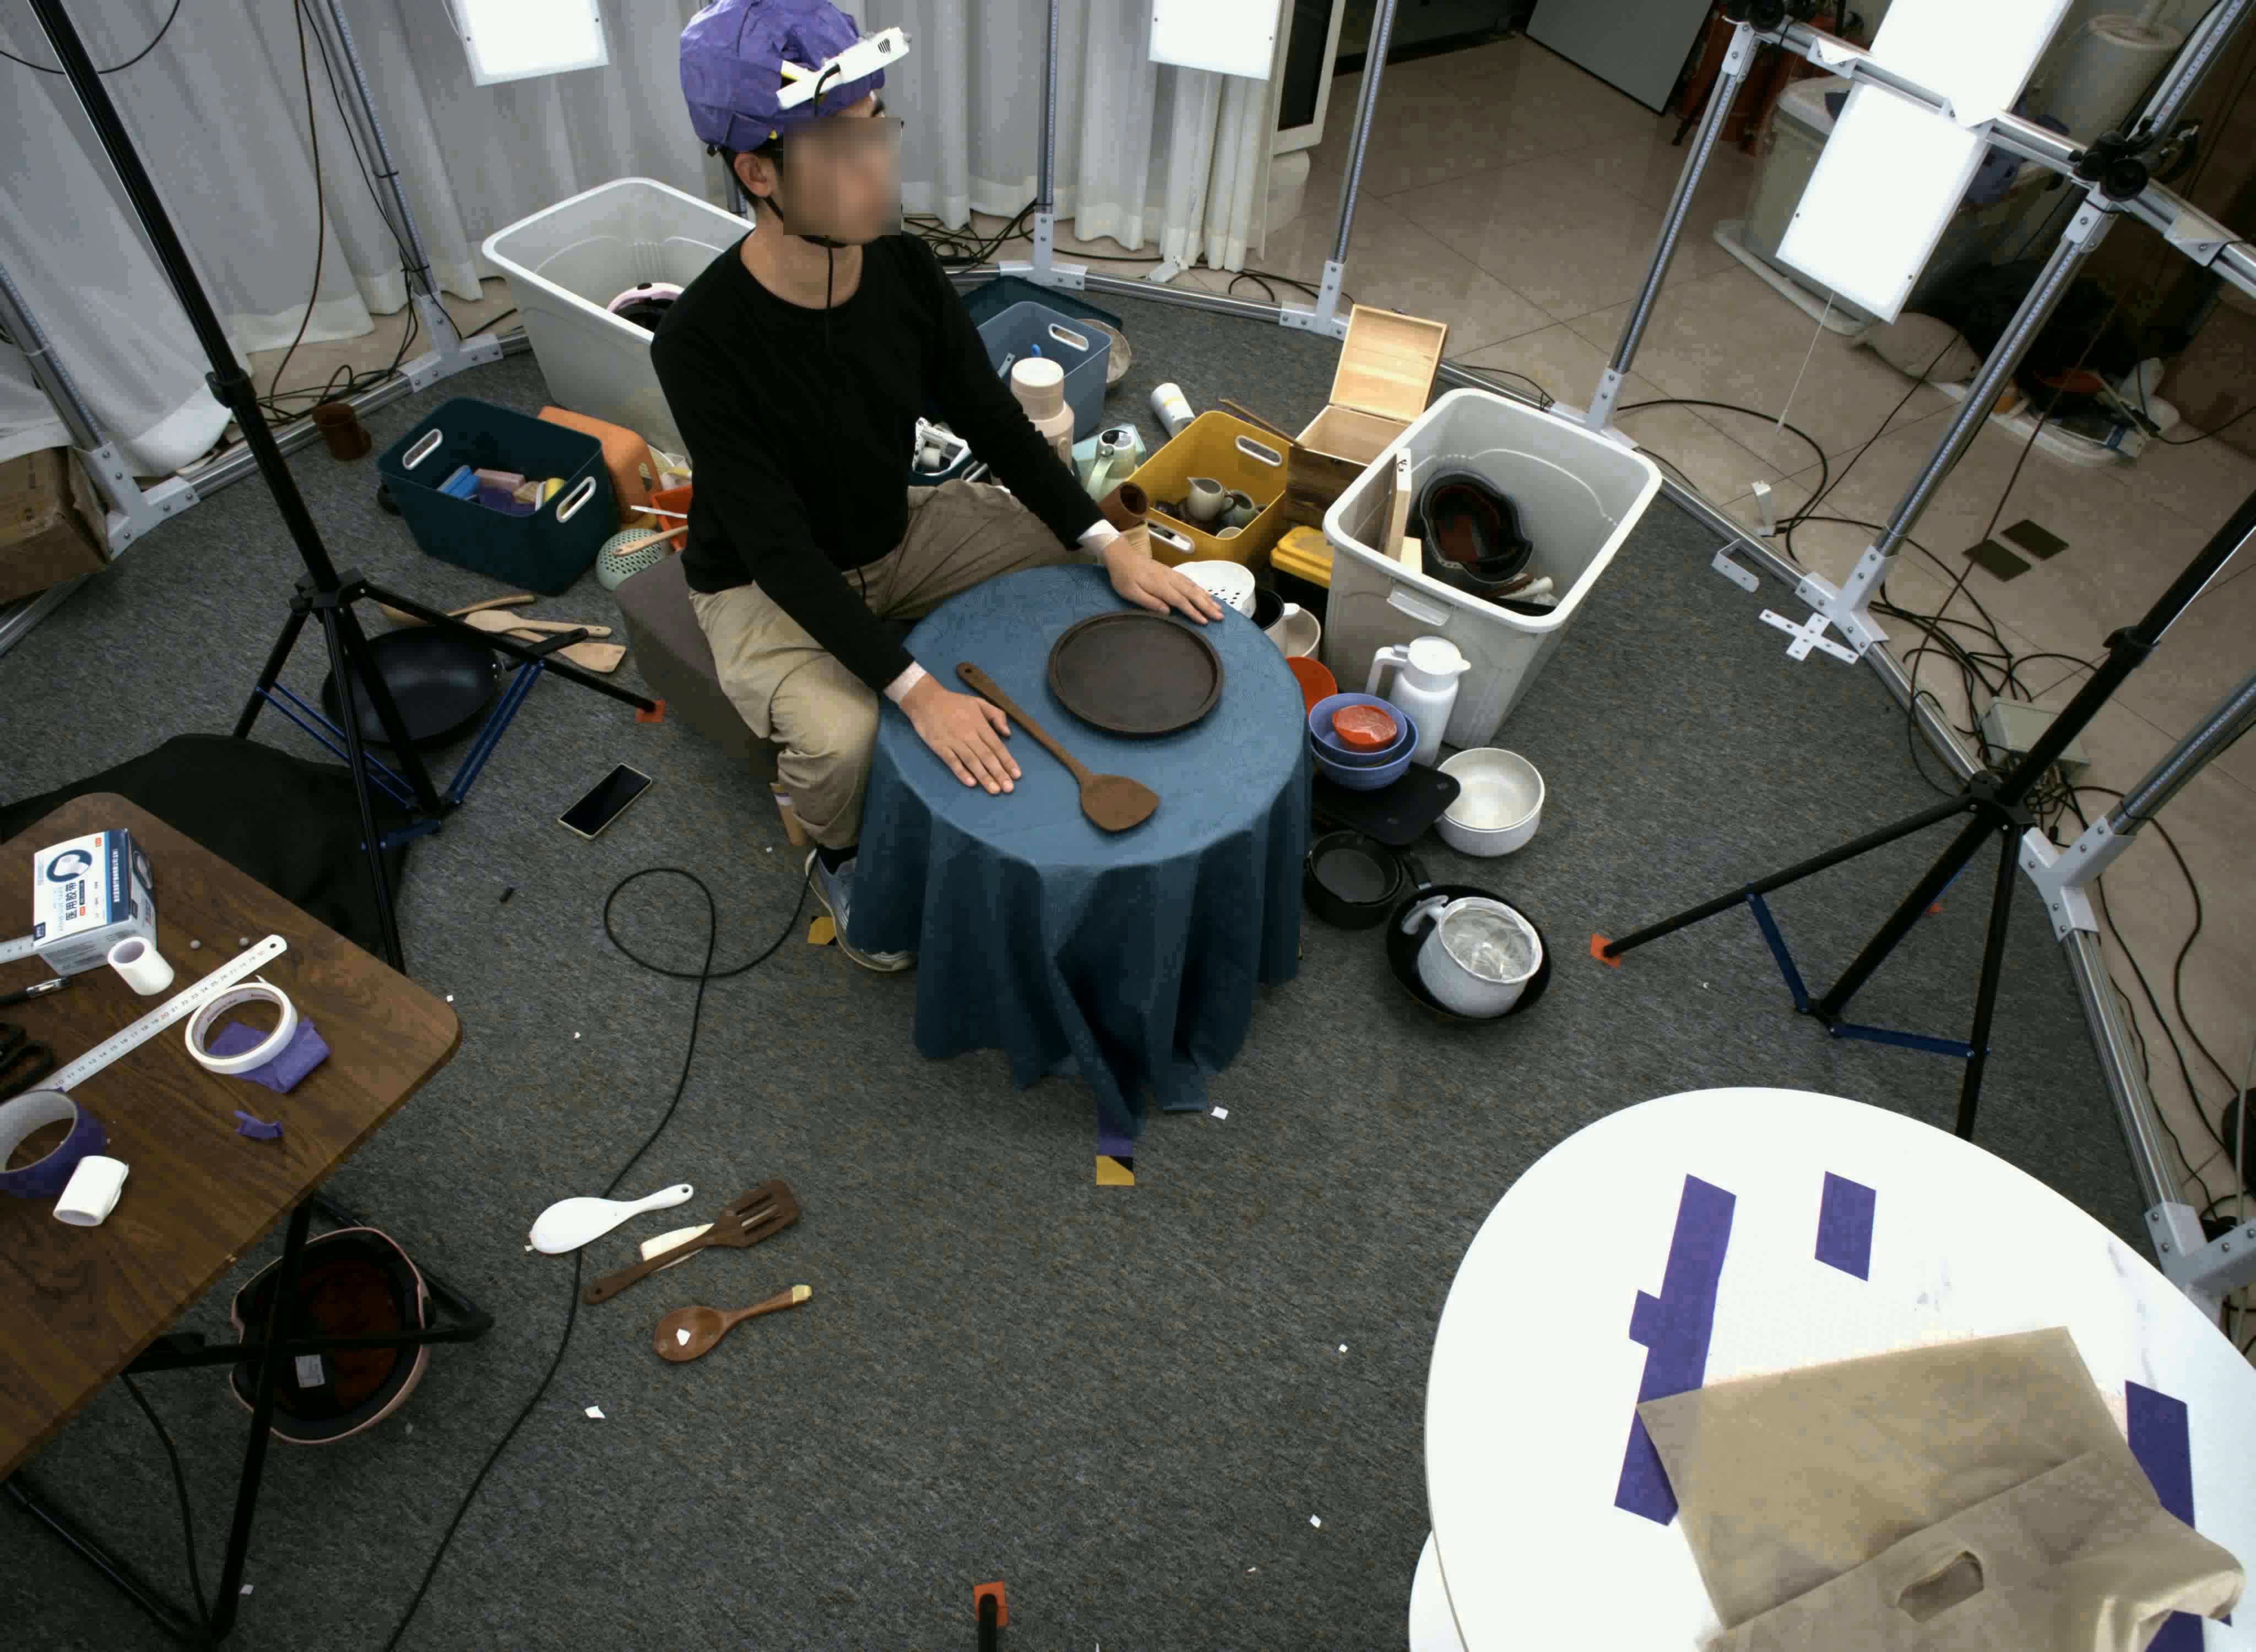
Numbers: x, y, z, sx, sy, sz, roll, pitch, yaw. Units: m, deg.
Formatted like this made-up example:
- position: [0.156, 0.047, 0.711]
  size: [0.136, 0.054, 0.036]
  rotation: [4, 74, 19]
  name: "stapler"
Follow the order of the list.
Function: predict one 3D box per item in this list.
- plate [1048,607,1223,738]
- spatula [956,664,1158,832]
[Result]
- position: [0.011, -0.219, 1.845]
  size: [0.254, 0.028, 0.261]
  rotation: [1, 50, -1]
  name: "plate"
- position: [-0.114, -0.119, 1.756]
  size: [0.097, 0.015, 0.392]
  rotation: [-32, 58, -28]
  name: "spatula"
